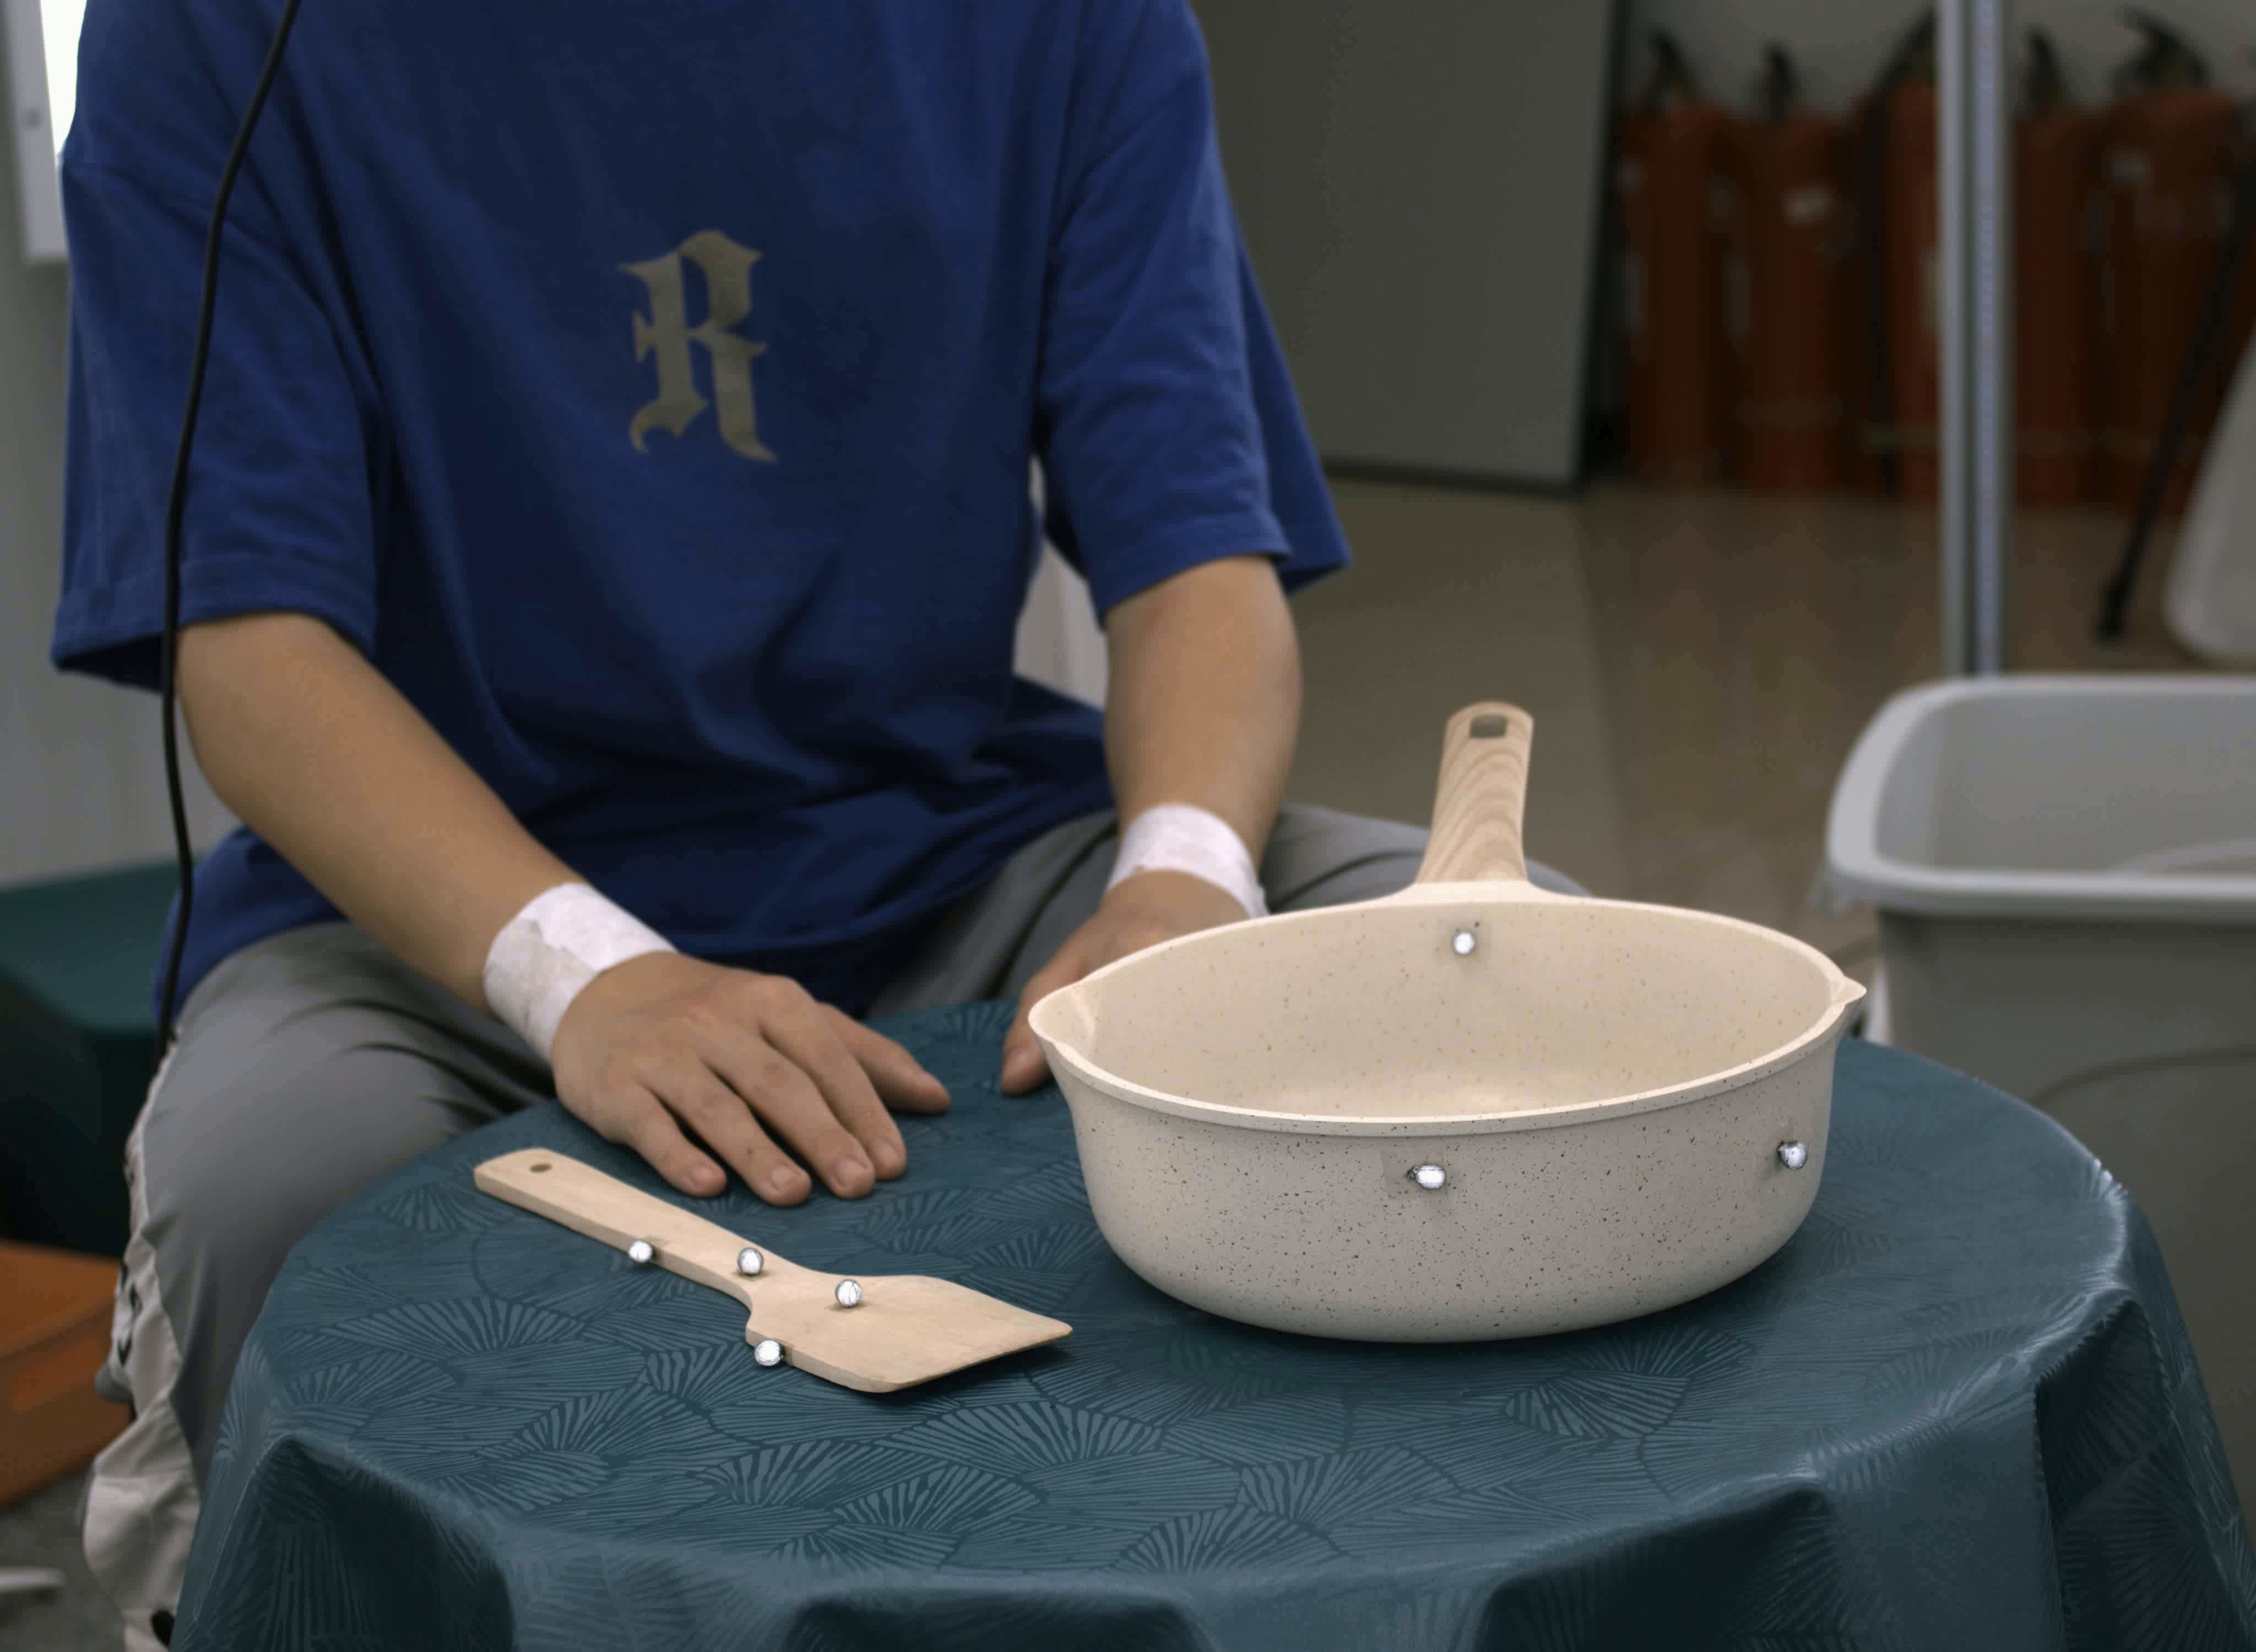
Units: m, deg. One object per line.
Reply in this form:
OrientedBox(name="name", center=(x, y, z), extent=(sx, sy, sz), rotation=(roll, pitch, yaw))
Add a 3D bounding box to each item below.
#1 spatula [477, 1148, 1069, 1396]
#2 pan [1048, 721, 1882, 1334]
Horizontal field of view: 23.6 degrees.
OrientedBox(name="spatula", center=(-0.128, 0.139, 1.718), extent=(0.071, 0.011, 0.296), rotation=(-15, 17, -33))
OrientedBox(name="pan", center=(0.115, 0.062, 1.770), extent=(0.261, 0.103, 0.434), rotation=(-4, 13, 7))
